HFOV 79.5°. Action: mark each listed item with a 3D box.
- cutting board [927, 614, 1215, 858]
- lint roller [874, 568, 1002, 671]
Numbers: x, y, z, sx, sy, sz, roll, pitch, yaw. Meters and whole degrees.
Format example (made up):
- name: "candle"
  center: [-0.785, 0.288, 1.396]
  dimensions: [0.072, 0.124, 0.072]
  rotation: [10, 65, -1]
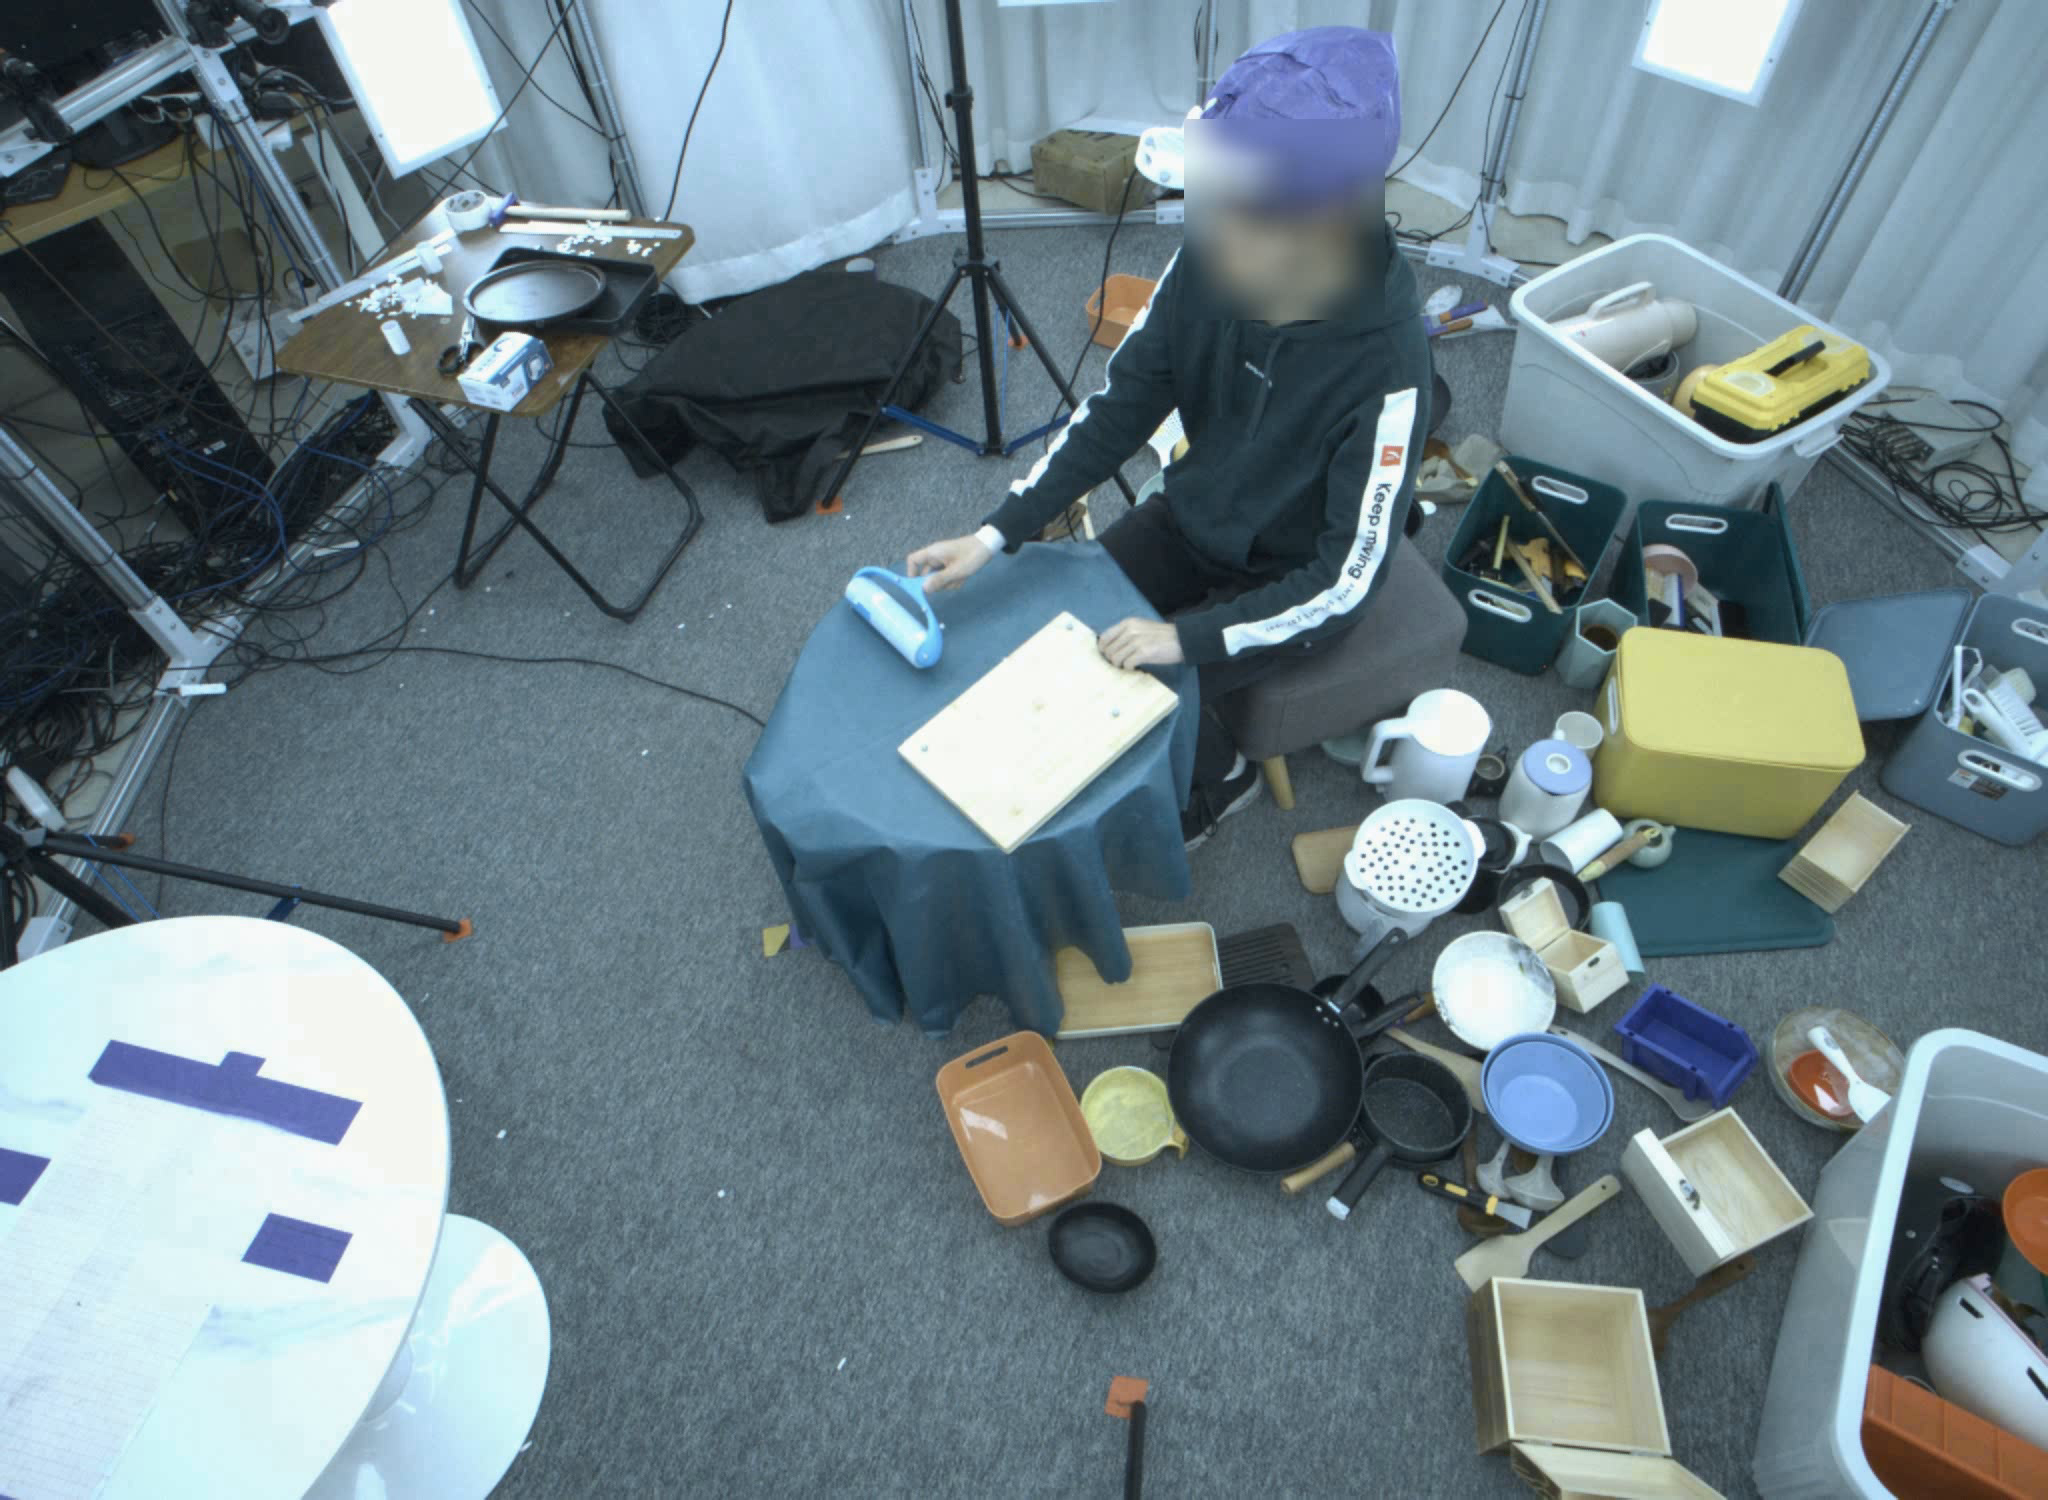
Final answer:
- name: "cutting board"
  center: [0.065, -0.029, 1.772]
  dimensions: [0.350, 0.024, 0.246]
  rotation: [-40, 62, -17]
- name: "lint roller"
  center: [-0.115, -0.236, 1.899]
  dimensions: [0.181, 0.069, 0.224]
  rotation: [-42, 57, -10]
